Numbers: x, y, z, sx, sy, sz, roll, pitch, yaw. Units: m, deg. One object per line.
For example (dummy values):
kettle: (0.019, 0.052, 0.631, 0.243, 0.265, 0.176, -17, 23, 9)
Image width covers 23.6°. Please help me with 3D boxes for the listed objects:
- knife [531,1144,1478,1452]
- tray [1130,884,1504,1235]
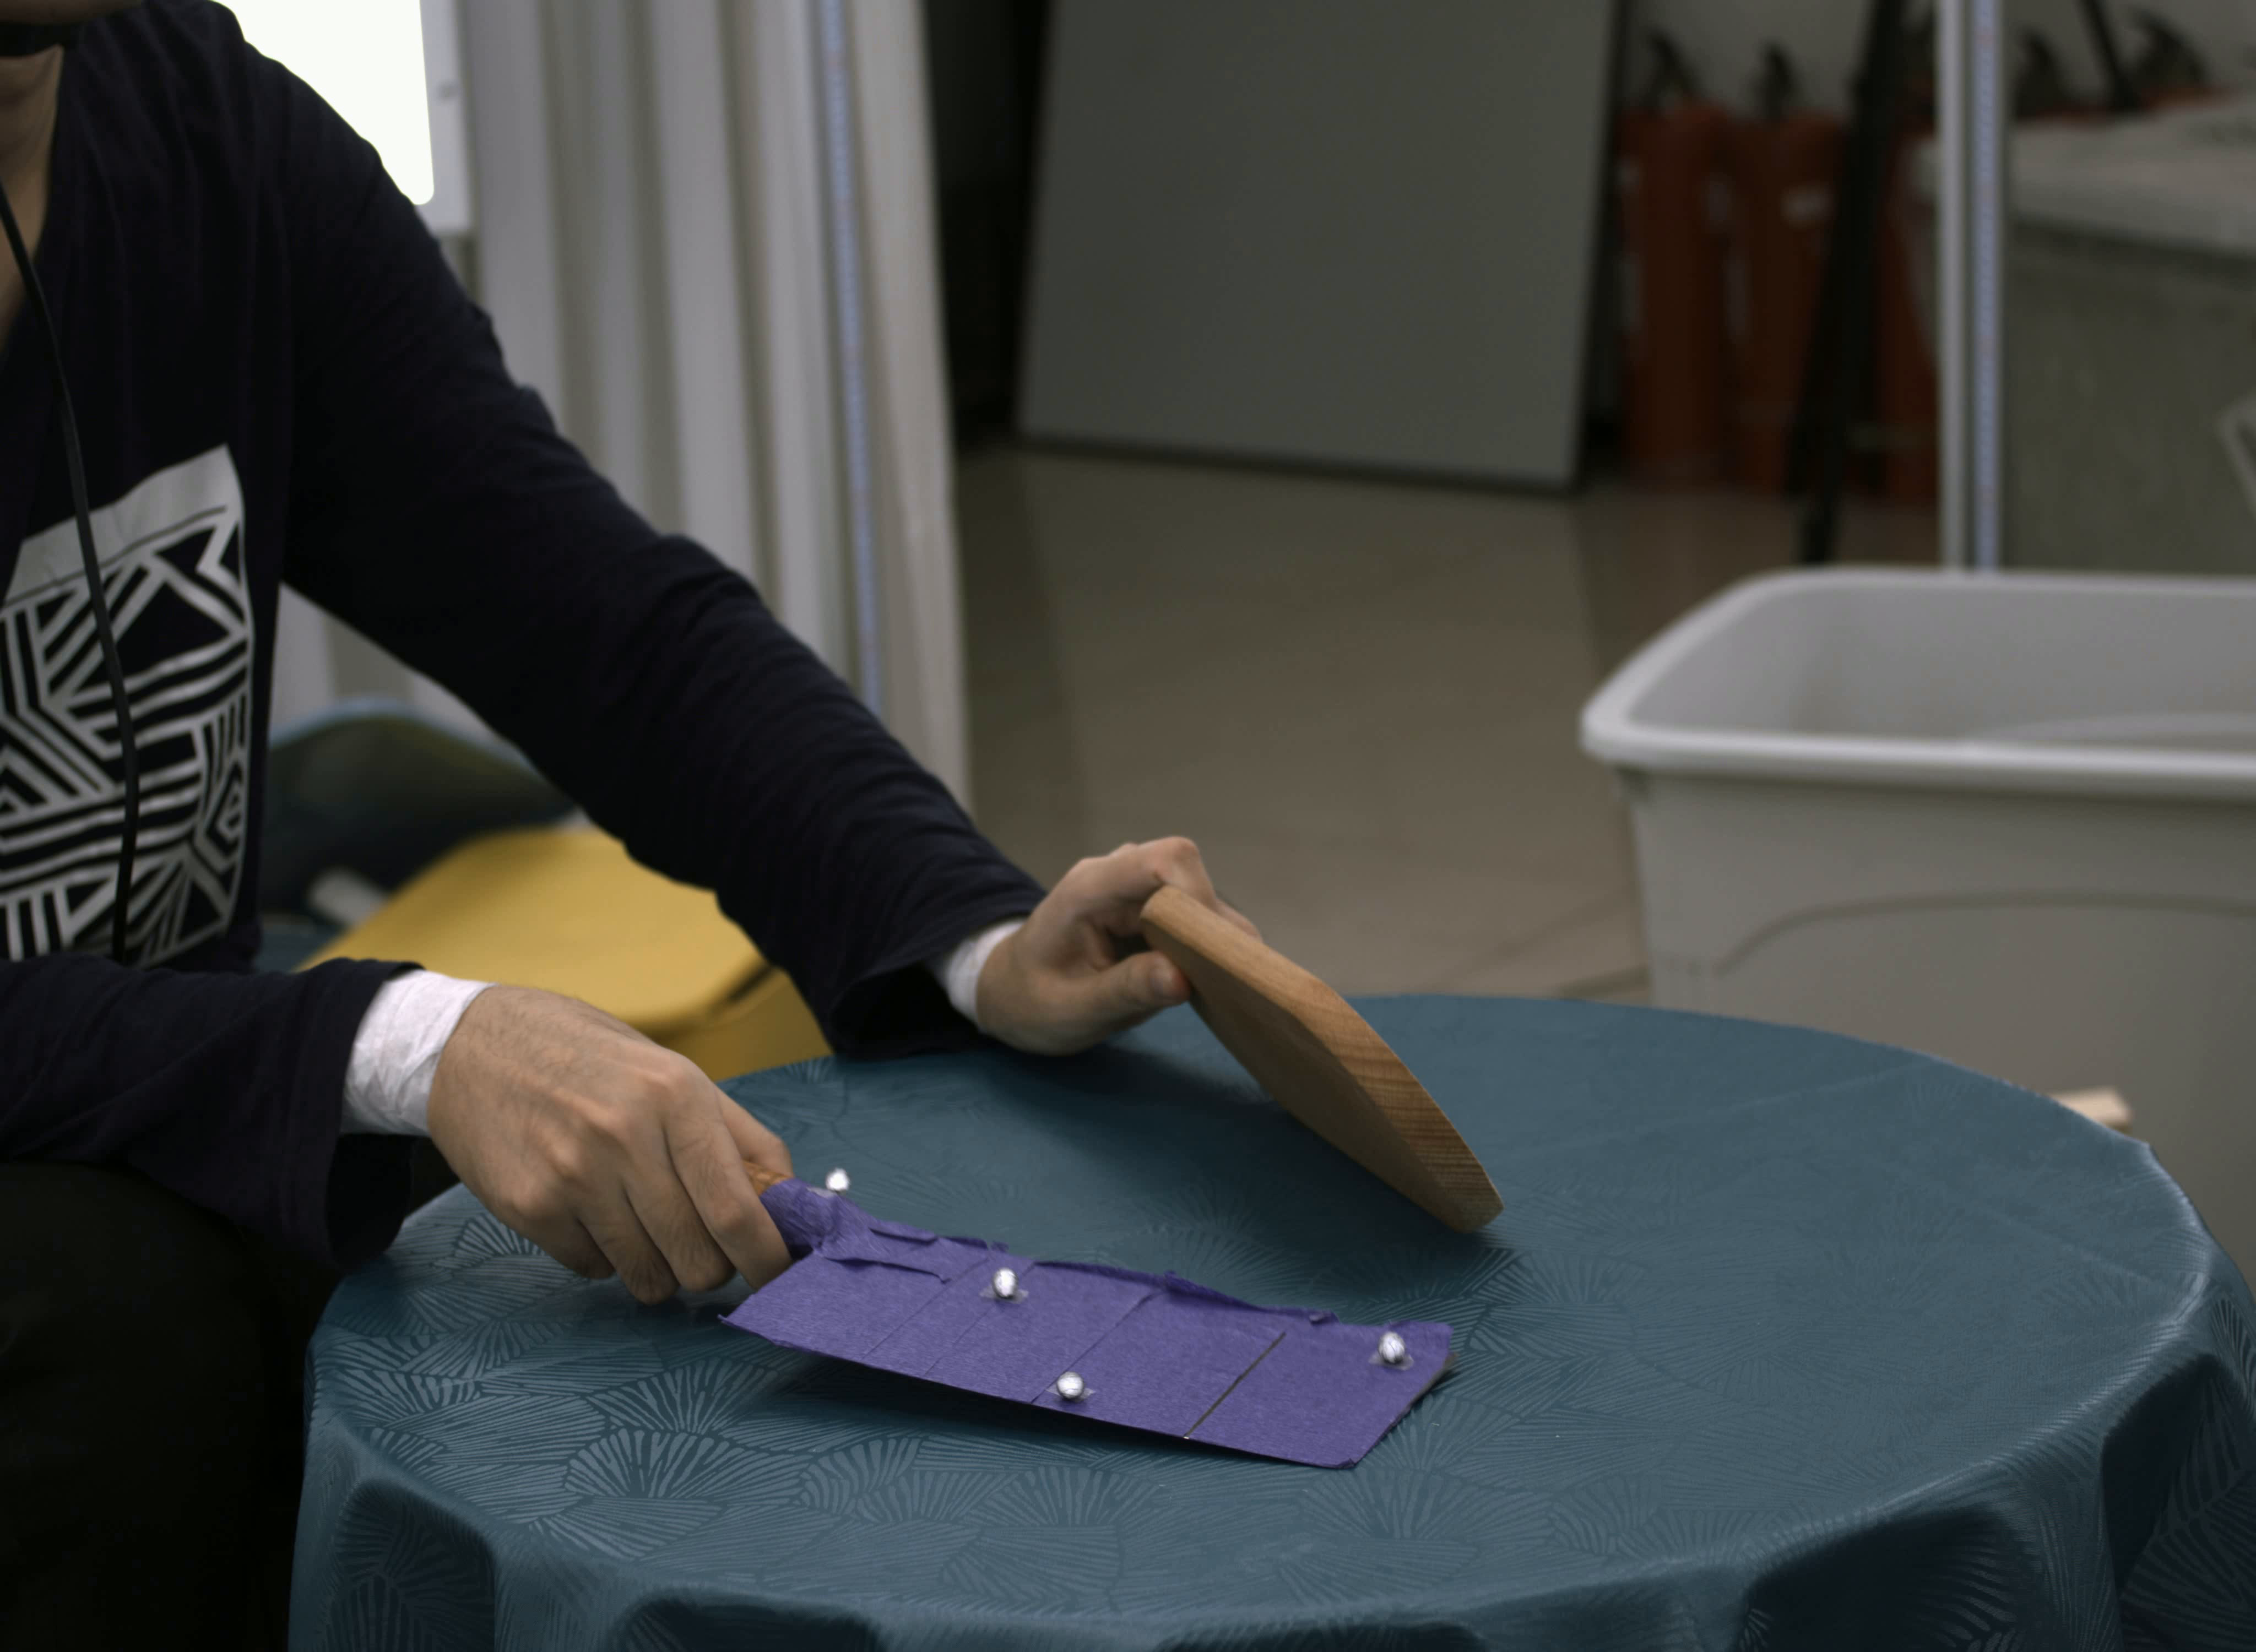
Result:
knife: (-0.055, 0.140, 1.614, 0.316, 0.032, 0.102, 7, 18, 26)
tray: (0.058, 0.076, 1.759, 0.020, 0.101, 0.233, -40, 21, -9)
